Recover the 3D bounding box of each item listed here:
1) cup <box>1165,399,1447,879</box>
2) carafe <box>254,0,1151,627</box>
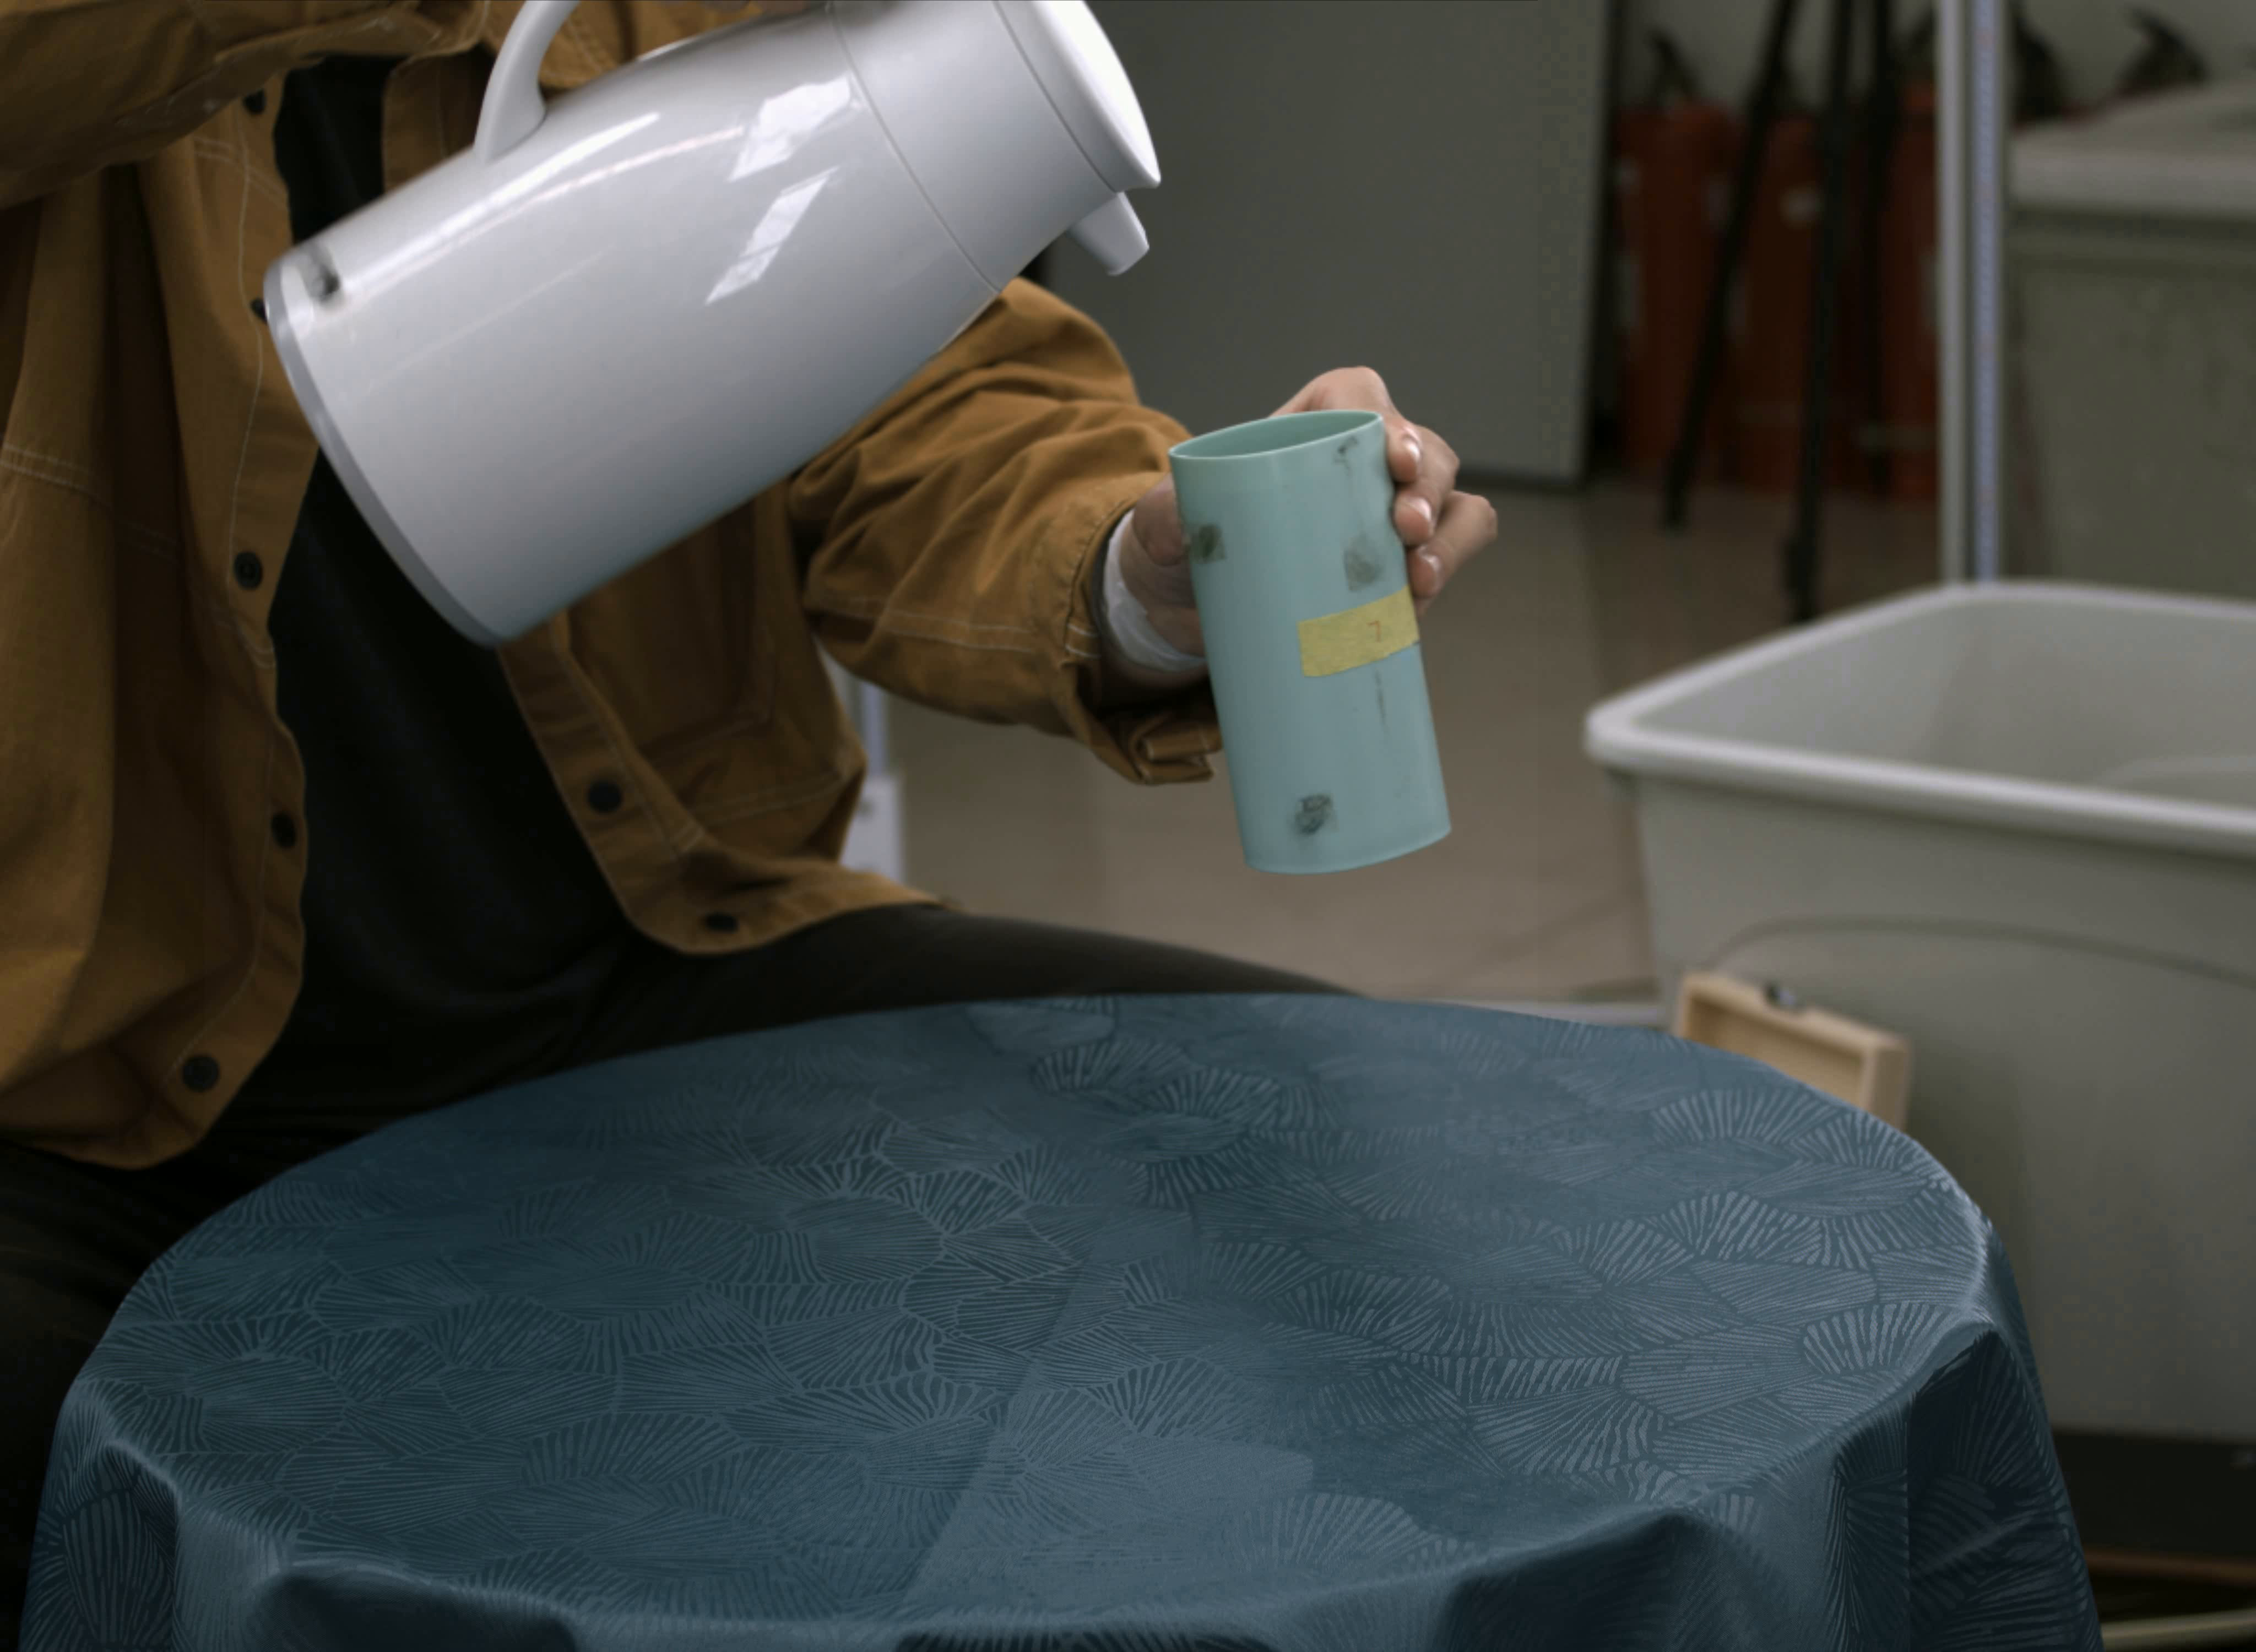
[{"bbox_3d":[0.054,-0.057,1.628,0.066,0.133,0.067,-10,11,1],"label":"cup"},{"bbox_3d":[-0.125,-0.190,1.567,0.248,0.167,0.133,-29,24,10],"label":"carafe"}]
